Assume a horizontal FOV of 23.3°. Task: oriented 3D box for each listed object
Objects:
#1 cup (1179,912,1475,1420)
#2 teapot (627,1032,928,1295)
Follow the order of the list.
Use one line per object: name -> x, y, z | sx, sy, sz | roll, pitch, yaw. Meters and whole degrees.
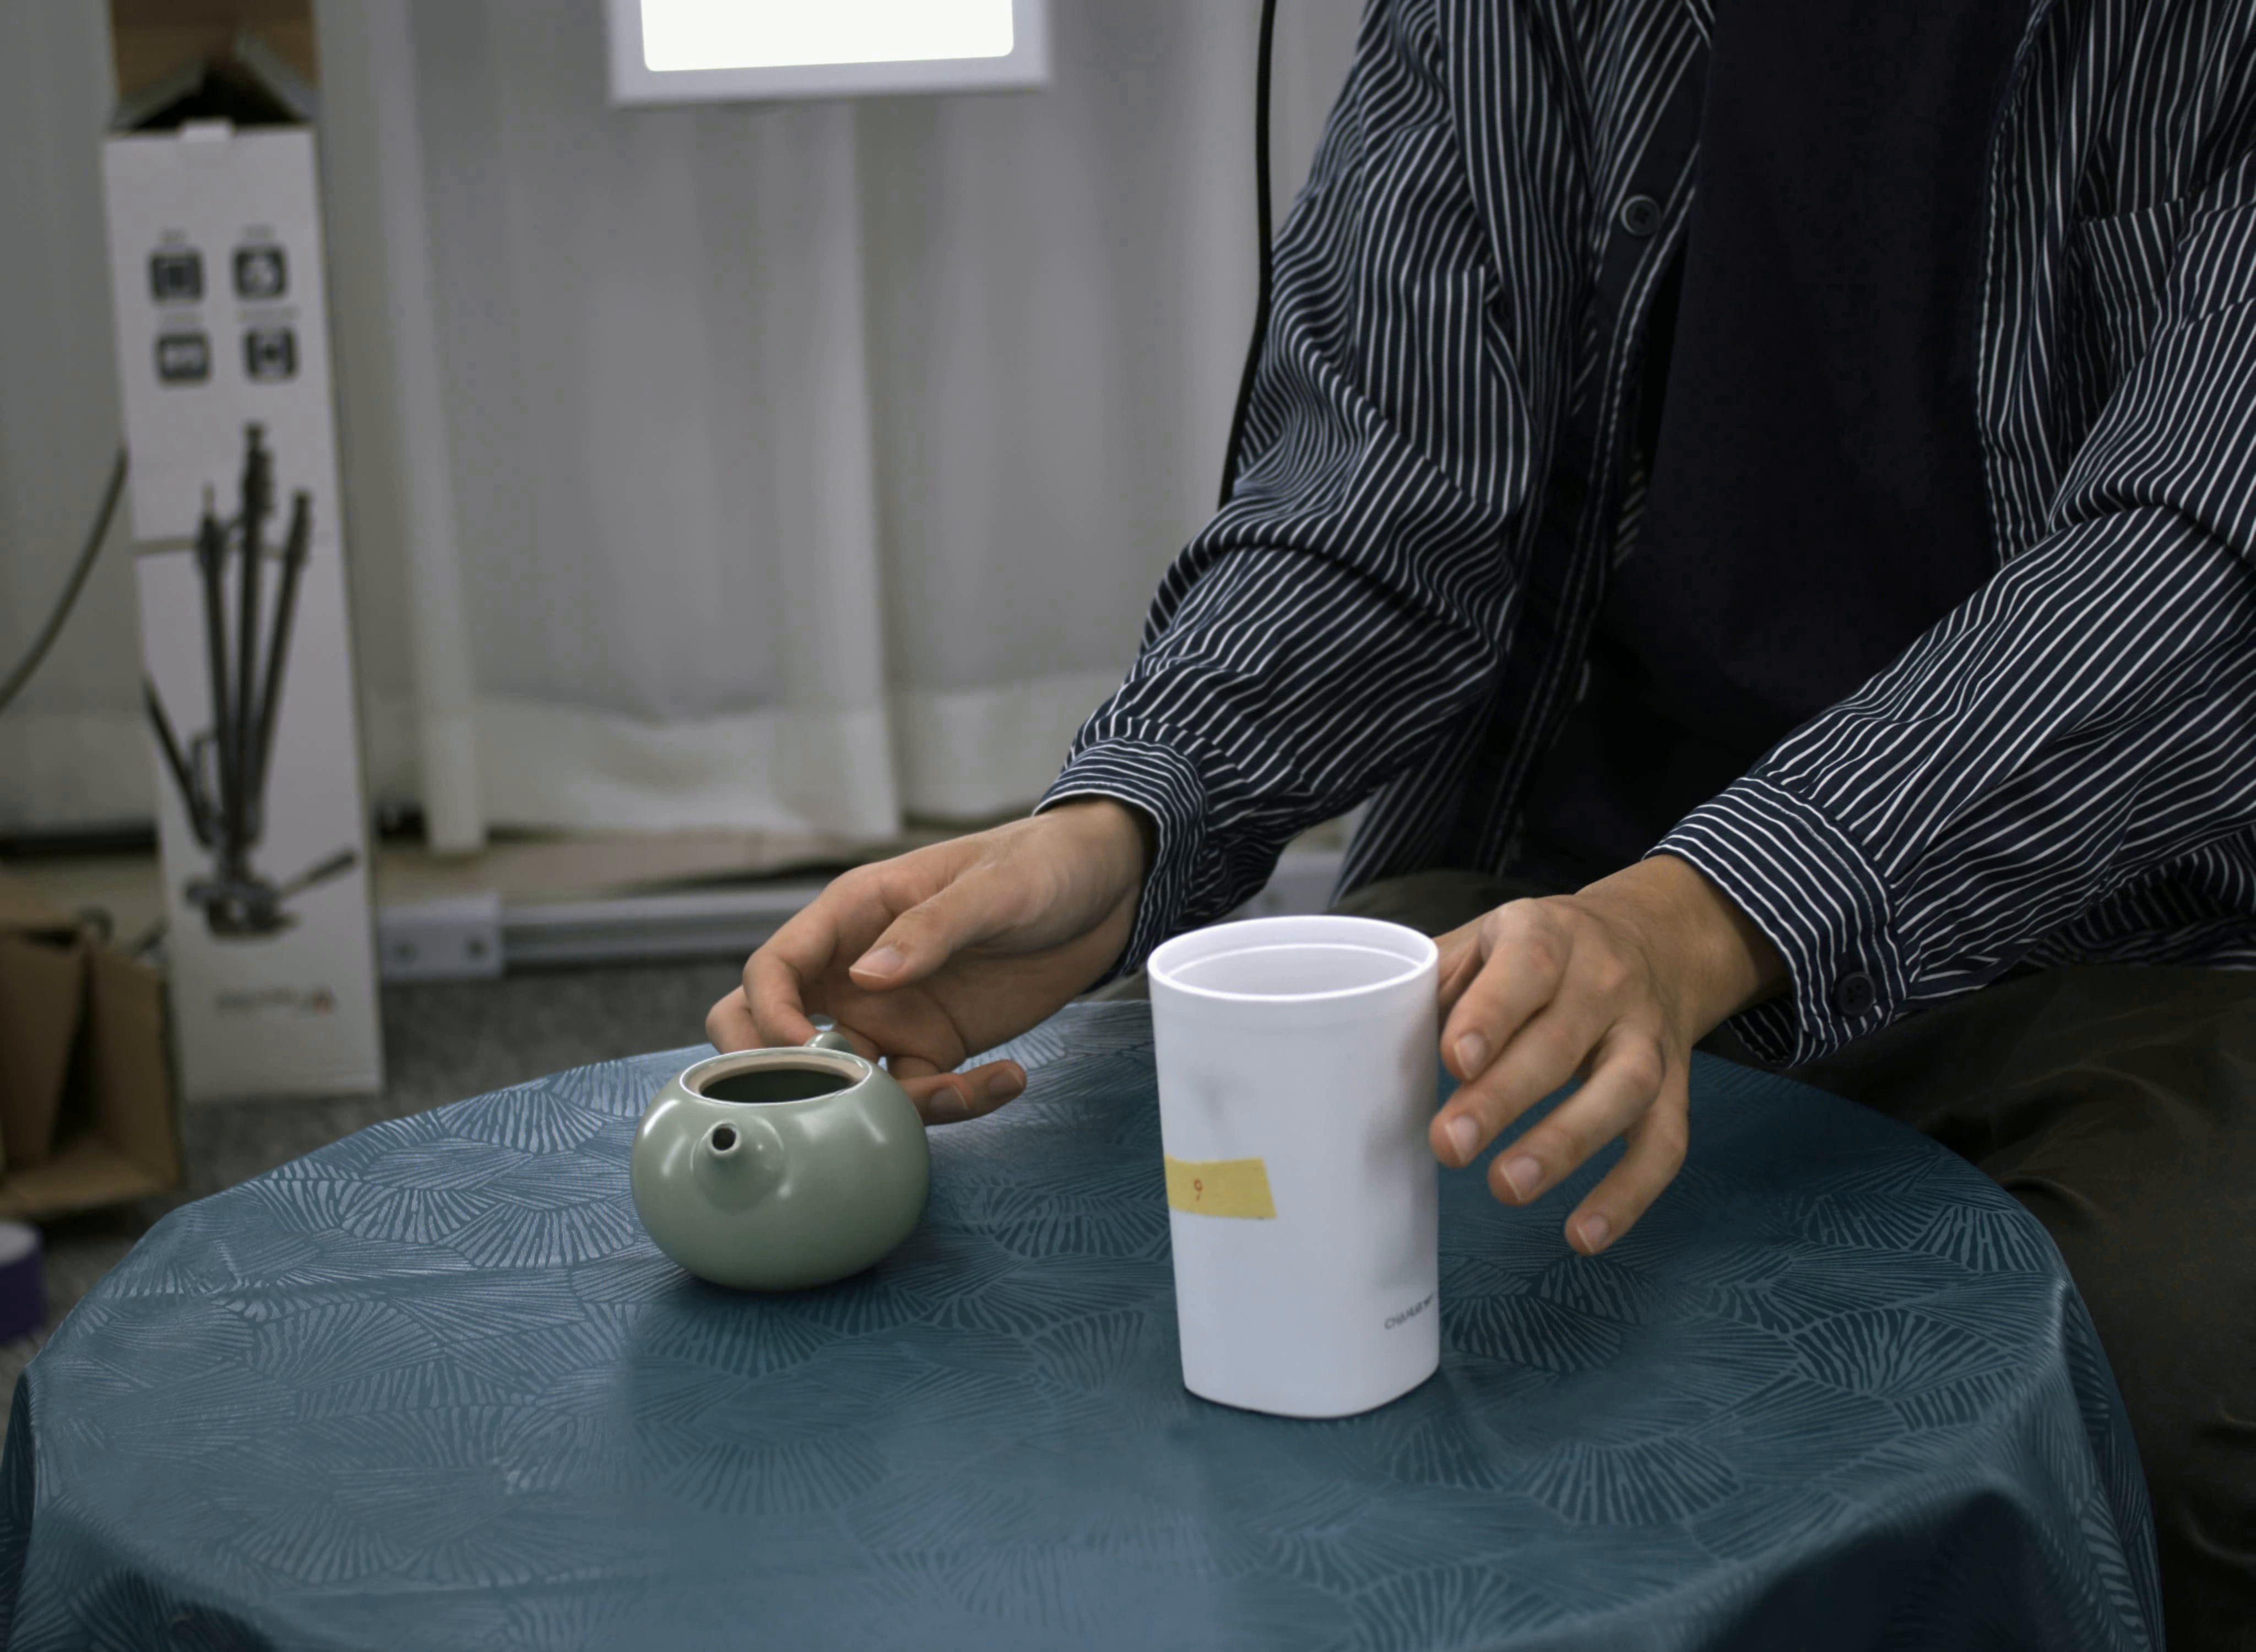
cup -> 0.058, 0.095, 1.526 | 0.081, 0.125, 0.082 | -3, 14, 1
teapot -> -0.103, 0.103, 1.669 | 0.091, 0.061, 0.129 | 0, 15, 19
